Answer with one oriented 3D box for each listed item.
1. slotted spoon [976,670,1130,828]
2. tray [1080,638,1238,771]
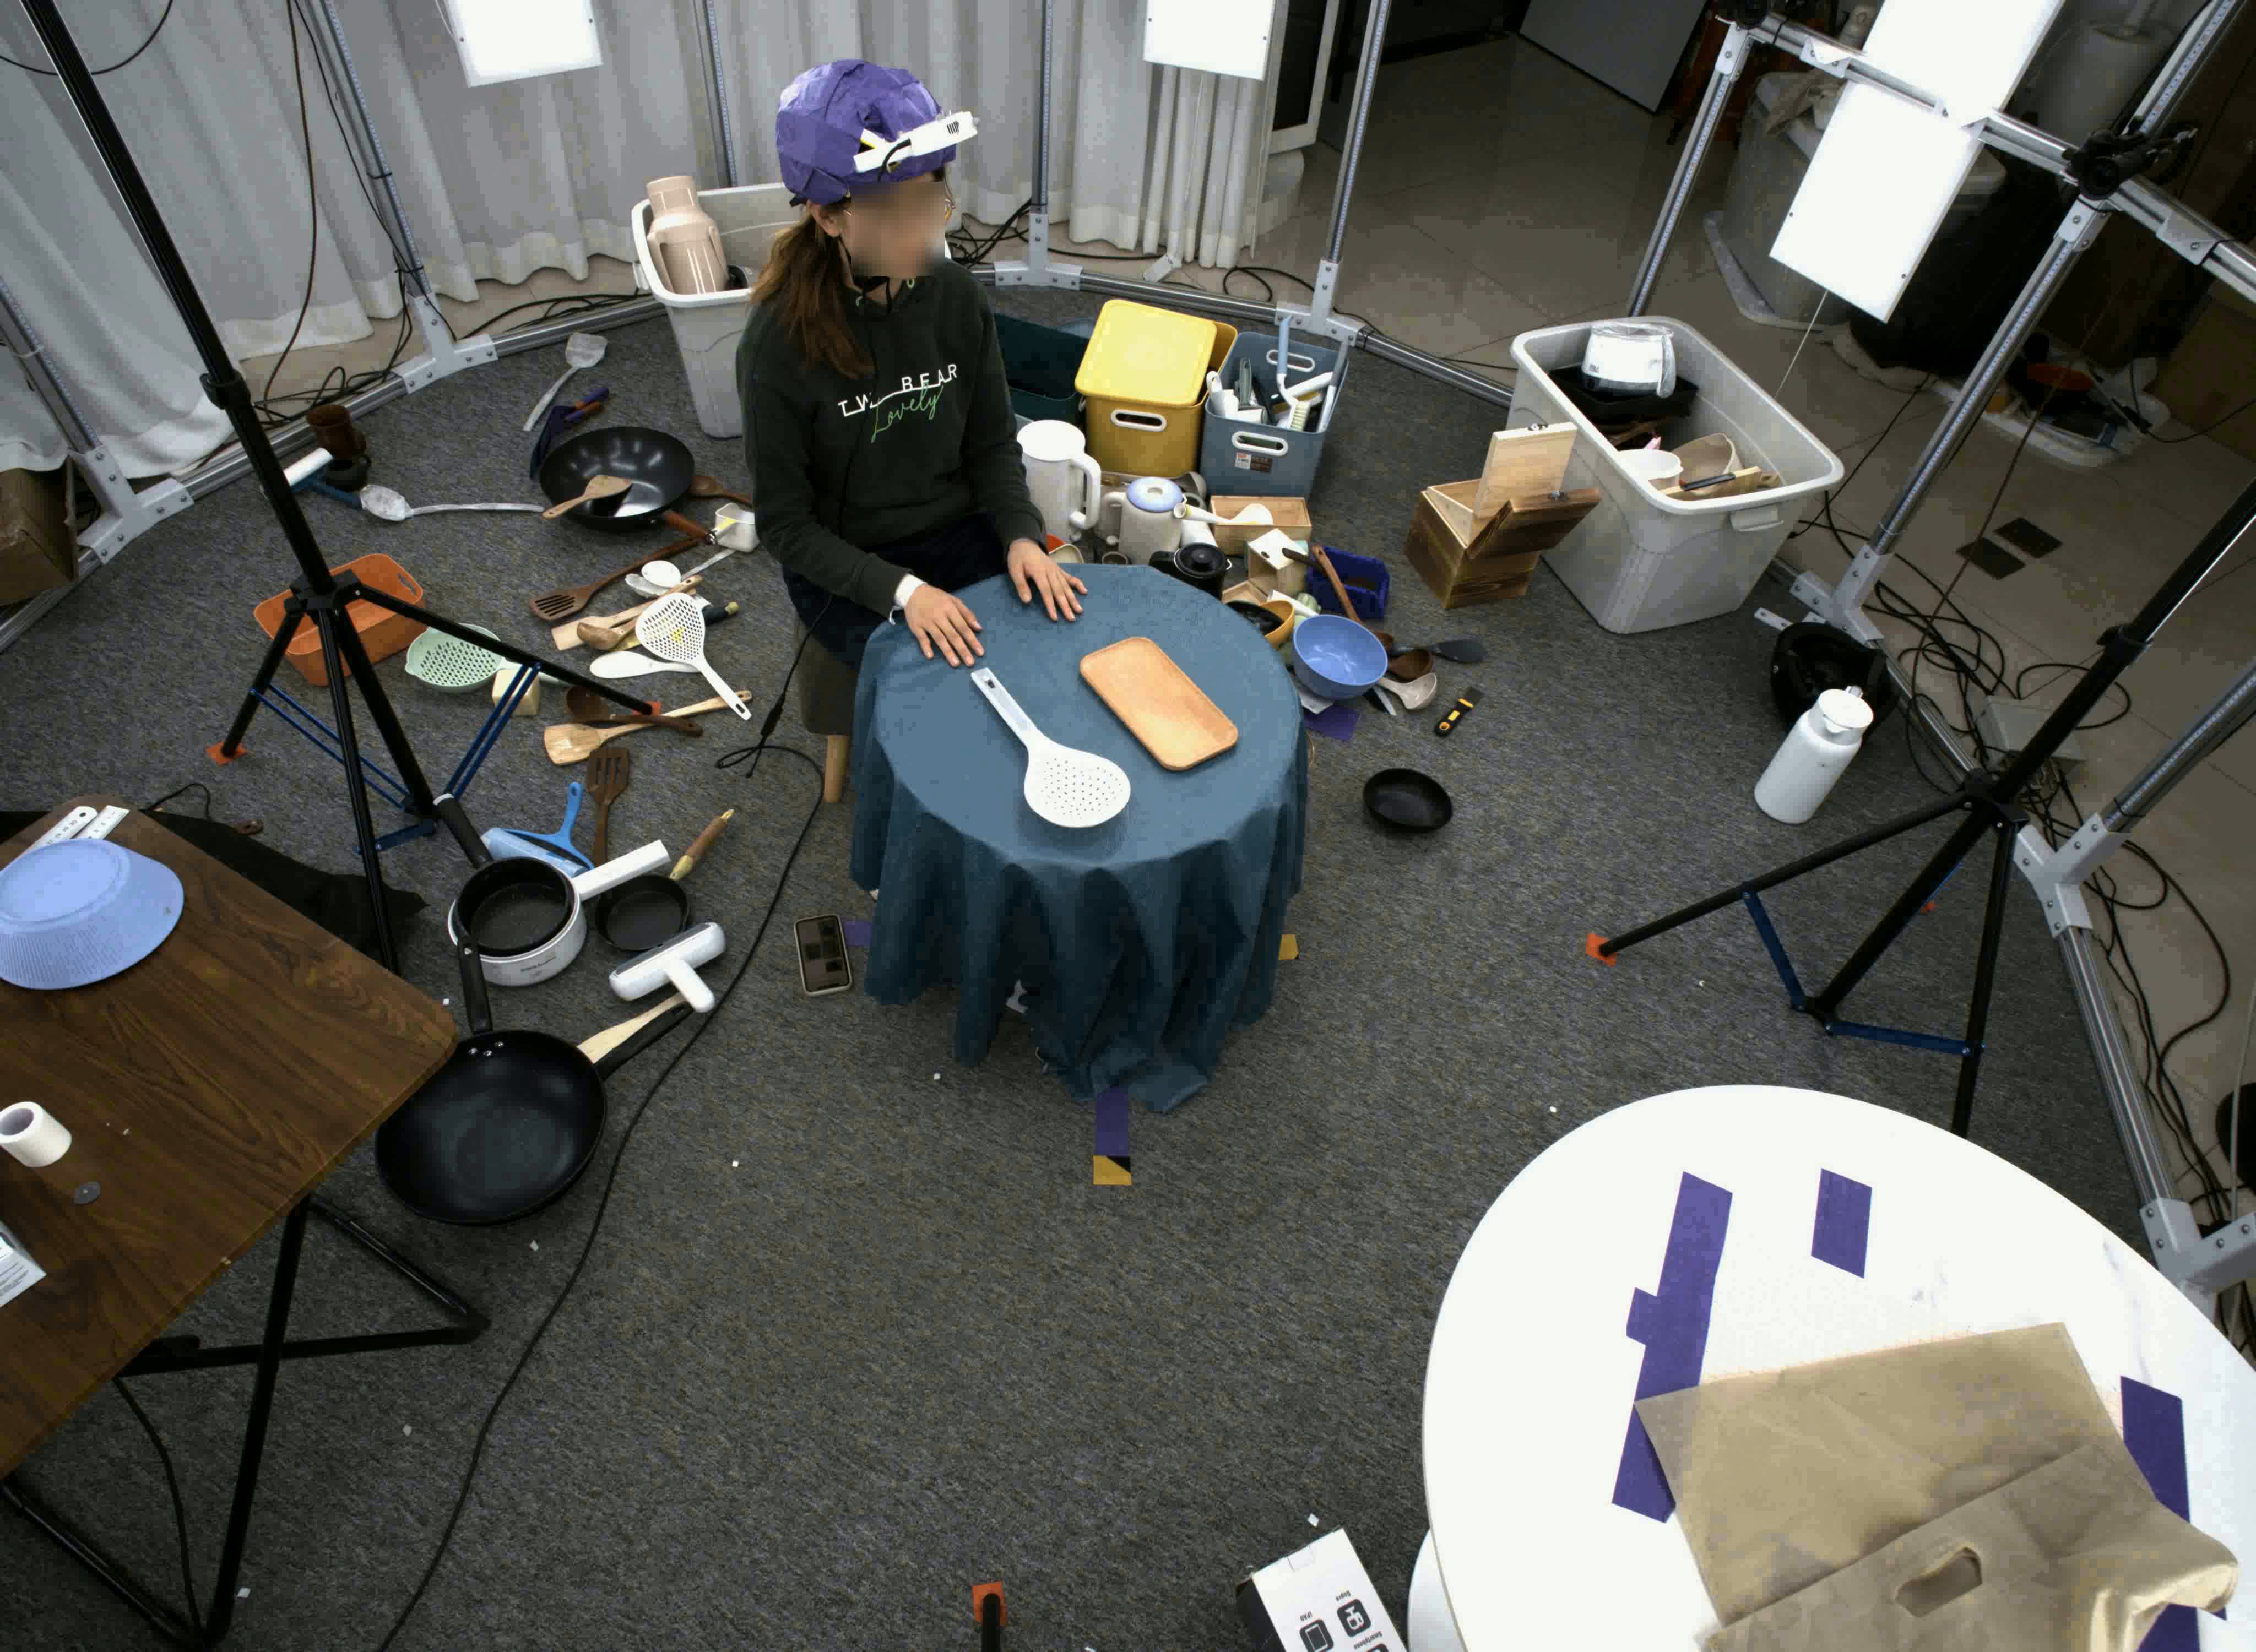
[{"bbox_3d":[-0.121,-0.109,1.741,0.136,0.044,0.357,-20,52,-23],"label":"slotted spoon"},{"bbox_3d":[0.042,-0.176,1.829,0.131,0.022,0.256,-23,53,-24],"label":"tray"}]
